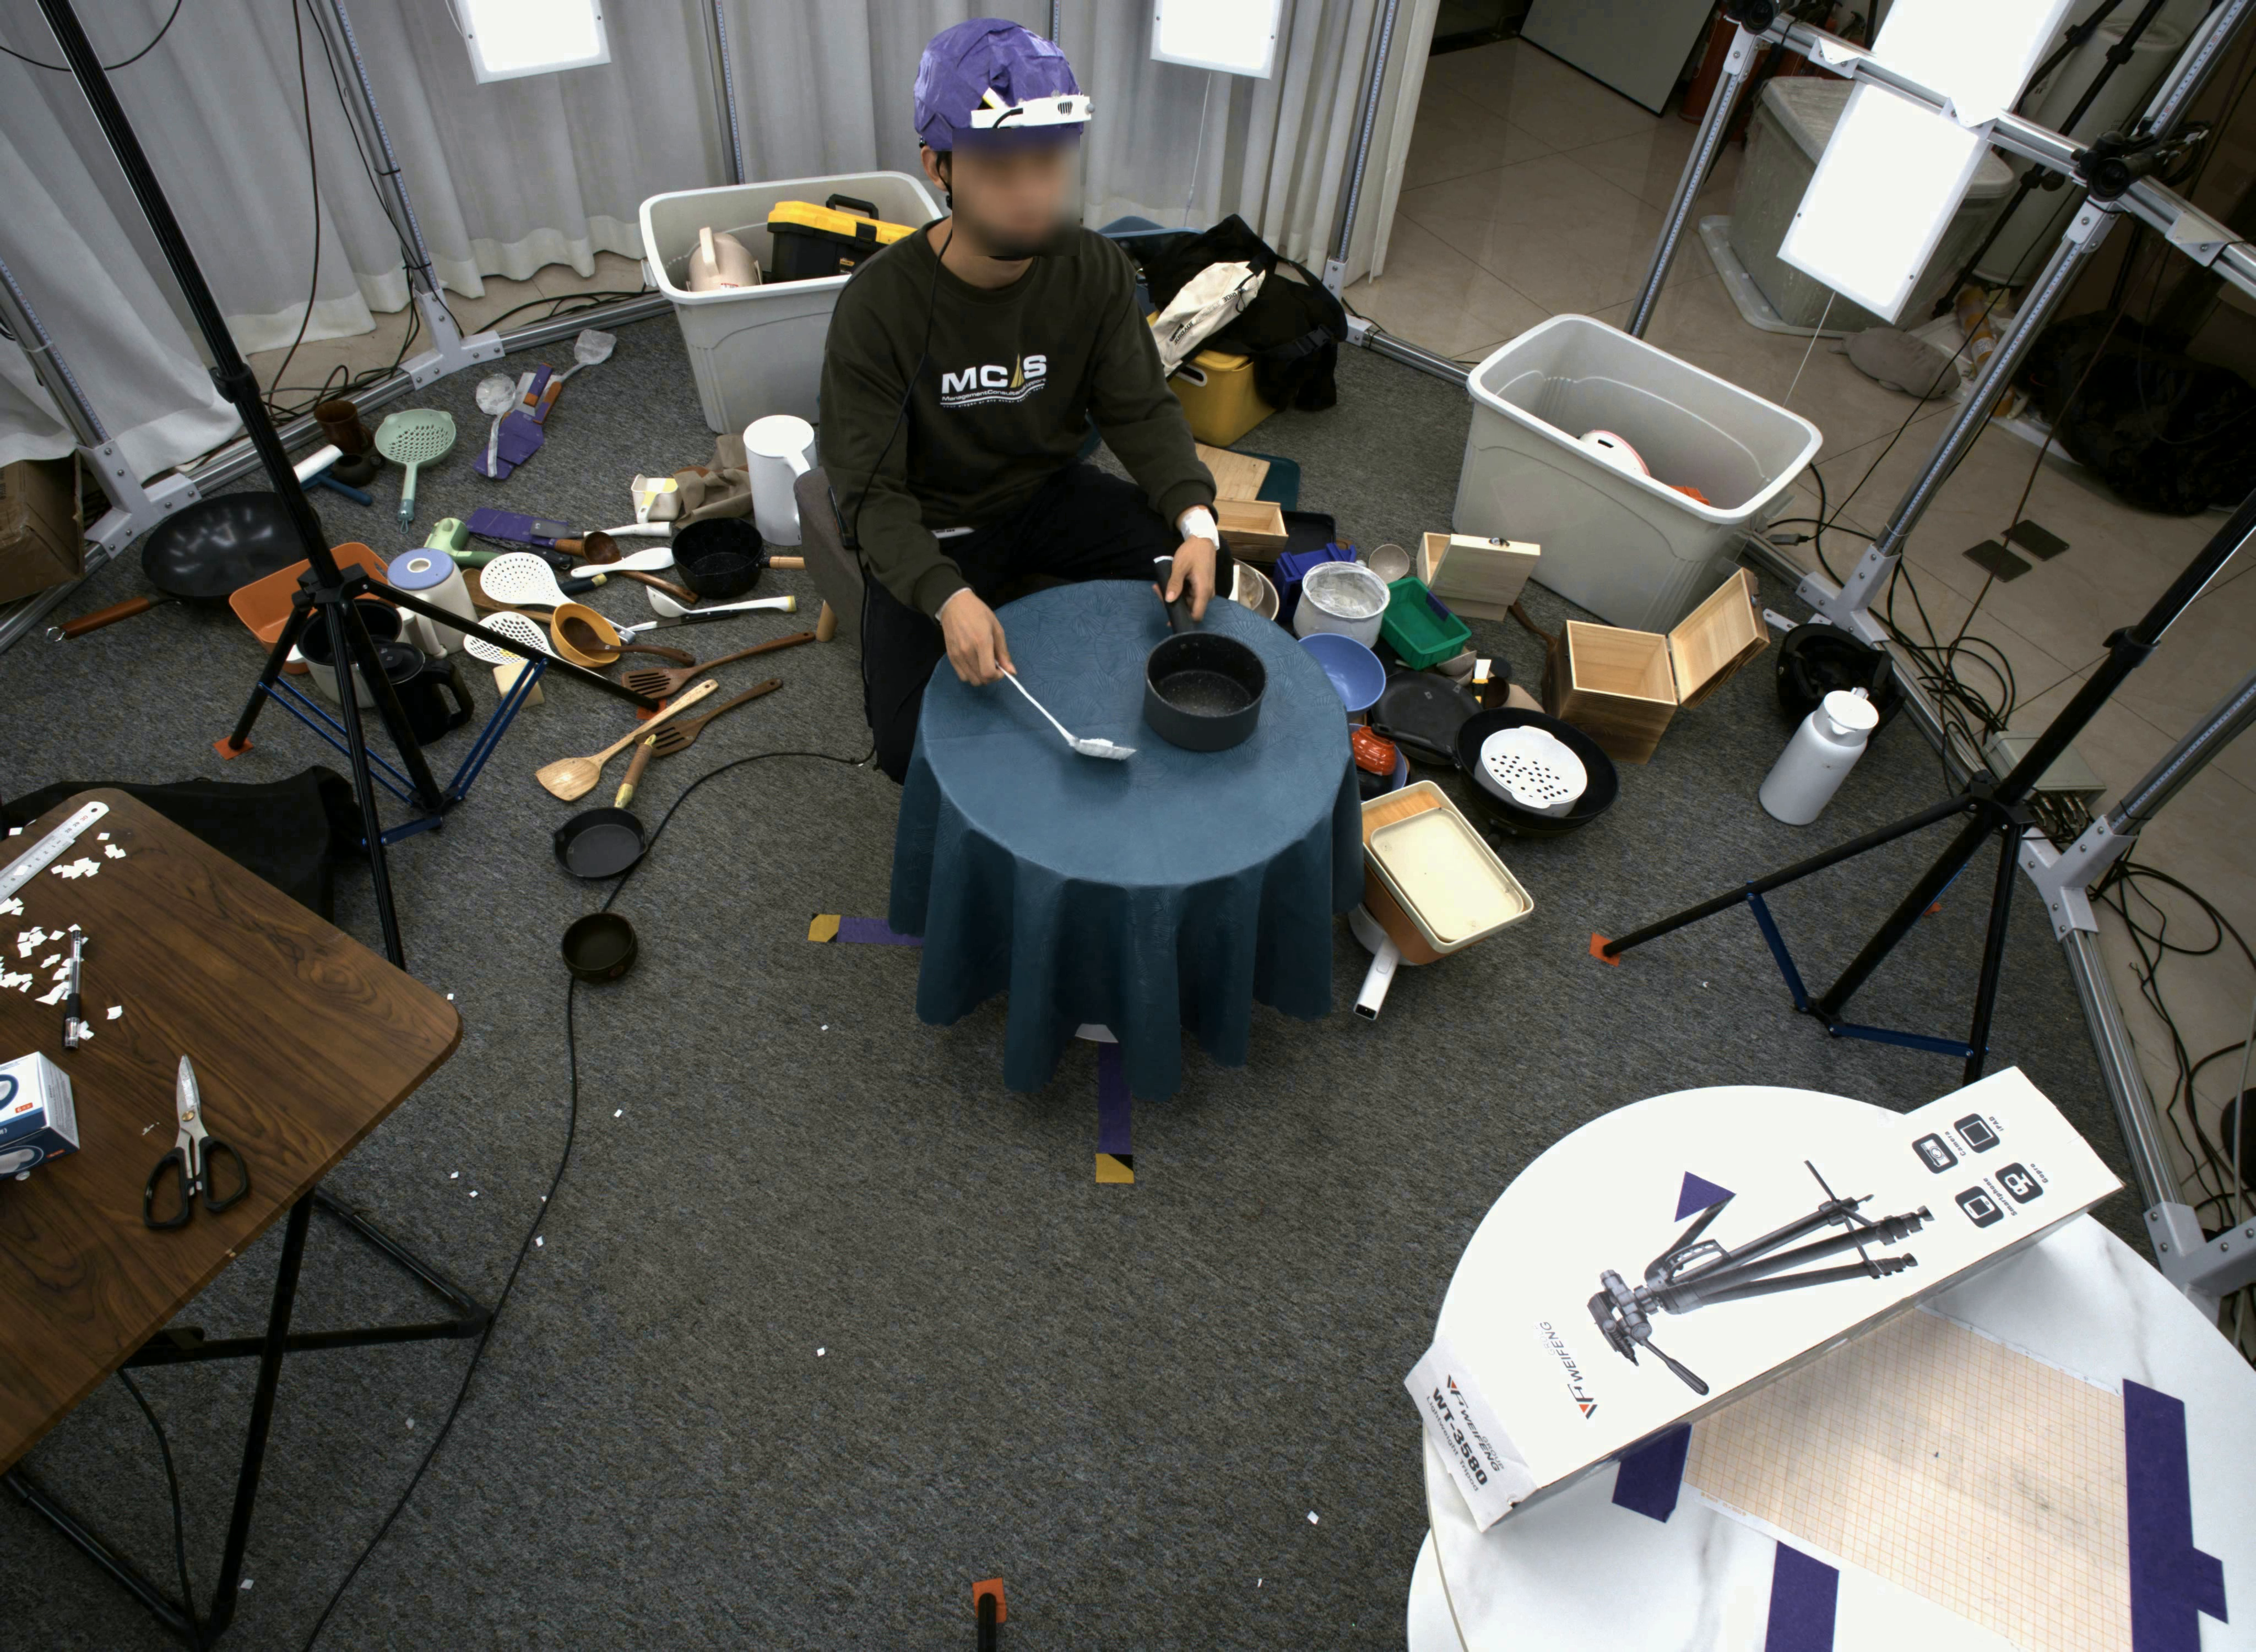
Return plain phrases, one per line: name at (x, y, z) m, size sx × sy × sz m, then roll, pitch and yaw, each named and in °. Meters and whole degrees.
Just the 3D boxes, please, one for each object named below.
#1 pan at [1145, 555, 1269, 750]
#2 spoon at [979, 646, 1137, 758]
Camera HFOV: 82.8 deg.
pan at (0.092, -0.250, 1.837) m, size 0.172 × 0.084 × 0.337 m, roll -5°, pitch 51°, yaw -10°
spoon at (-0.098, -0.177, 1.756) m, size 0.059 × 0.100 × 0.281 m, roll -49°, pitch 67°, yaw 12°
